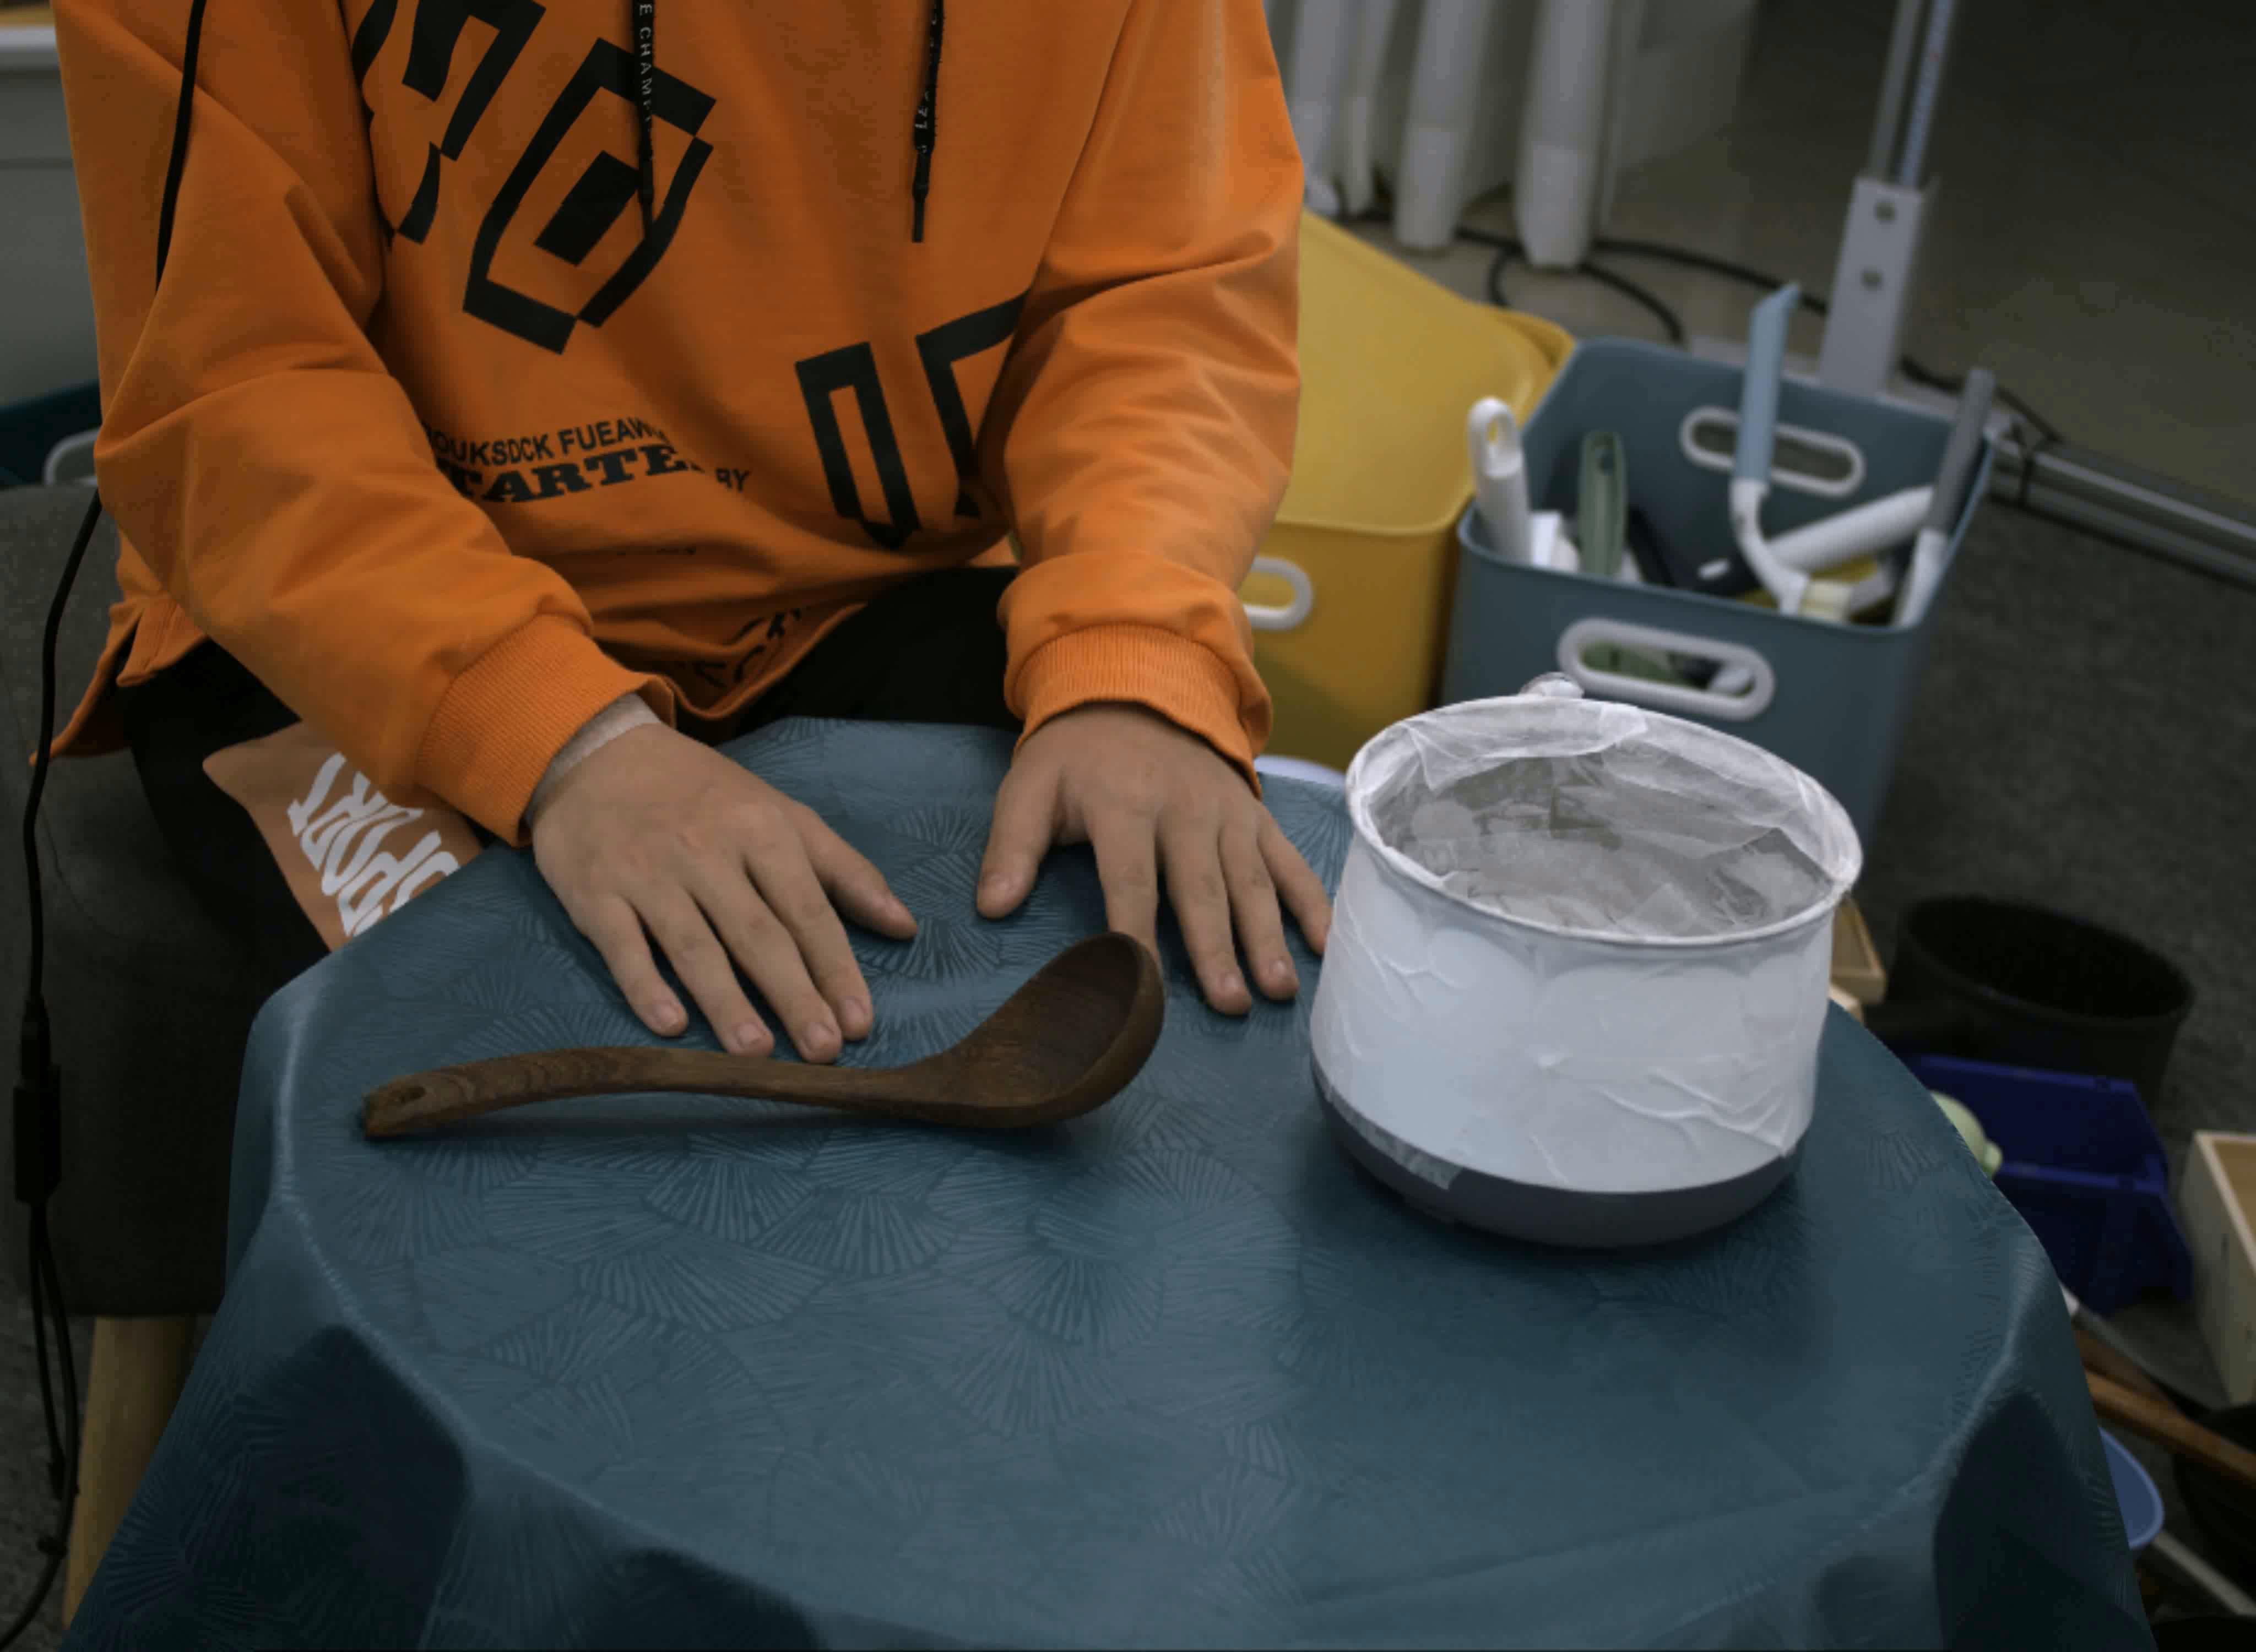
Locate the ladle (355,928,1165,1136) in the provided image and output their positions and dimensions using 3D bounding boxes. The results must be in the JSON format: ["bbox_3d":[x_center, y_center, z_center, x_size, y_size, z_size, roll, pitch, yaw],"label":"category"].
[{"bbox_3d":[-0.123,0.070,1.803,0.272,0.071,0.076,0,25,-13],"label":"ladle"}]

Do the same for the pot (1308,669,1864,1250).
[{"bbox_3d":[0.151,0.039,1.851,0.178,0.136,0.235,3,28,-9],"label":"pot"}]
